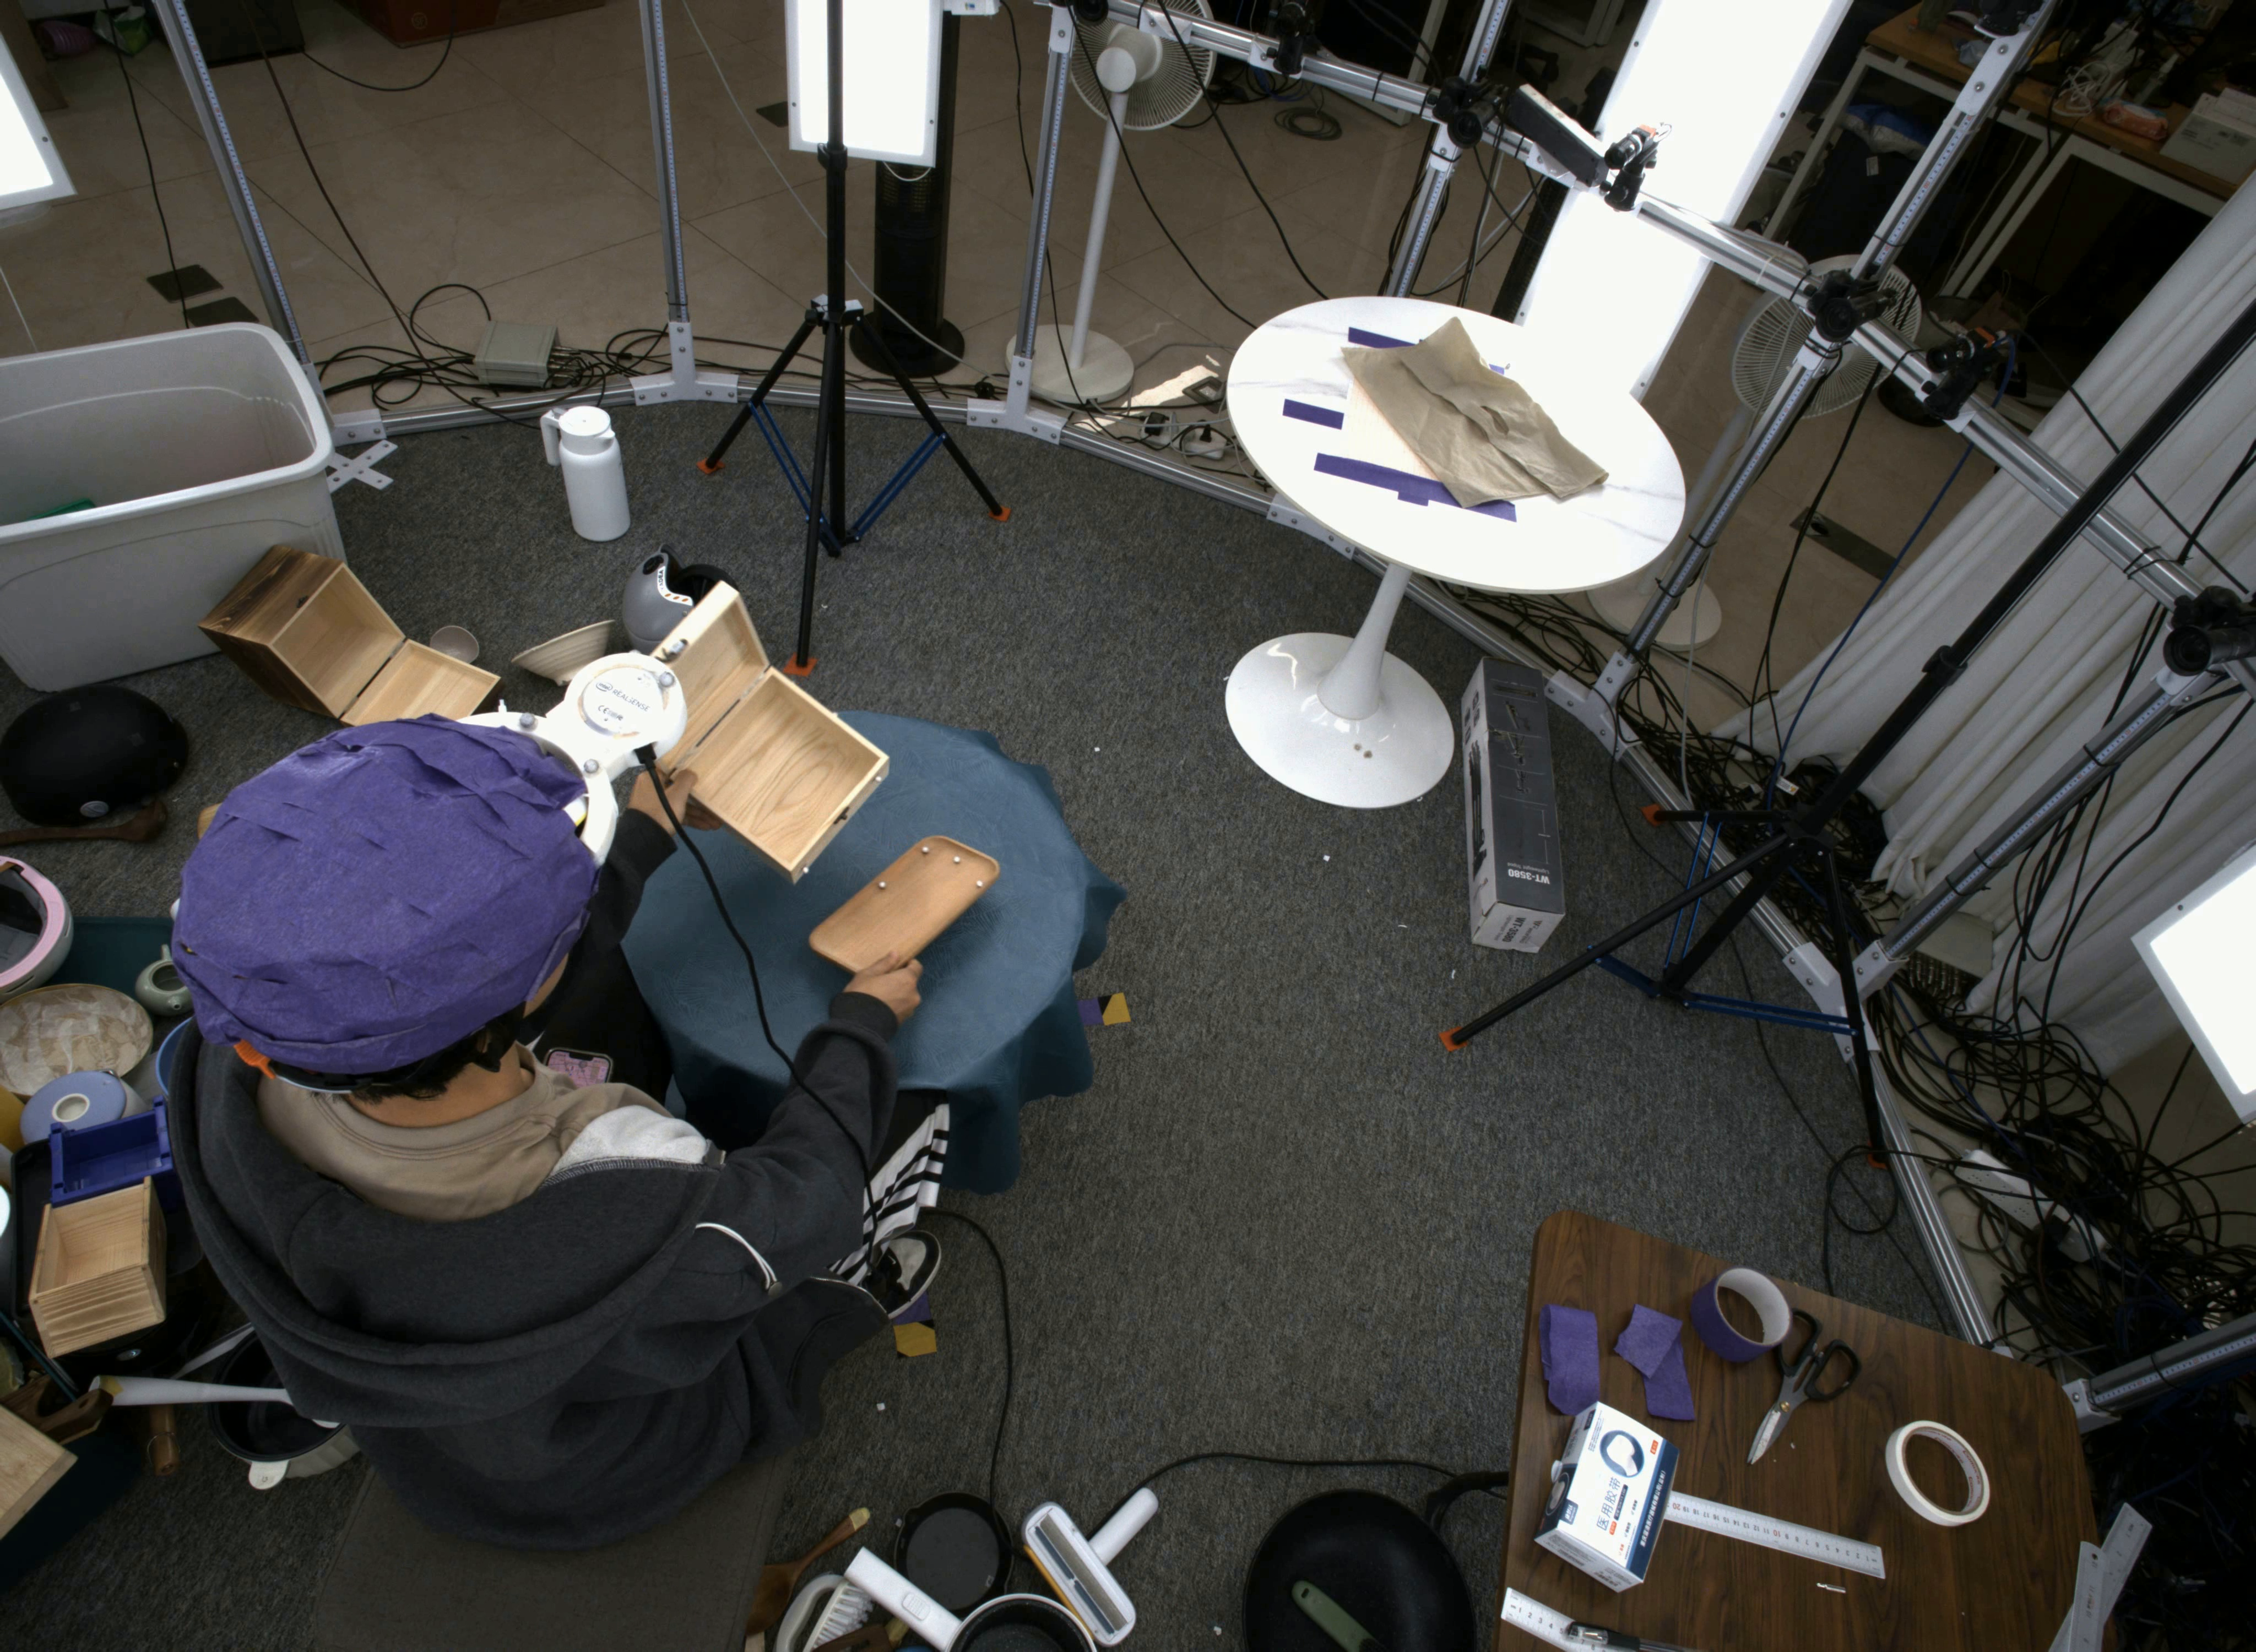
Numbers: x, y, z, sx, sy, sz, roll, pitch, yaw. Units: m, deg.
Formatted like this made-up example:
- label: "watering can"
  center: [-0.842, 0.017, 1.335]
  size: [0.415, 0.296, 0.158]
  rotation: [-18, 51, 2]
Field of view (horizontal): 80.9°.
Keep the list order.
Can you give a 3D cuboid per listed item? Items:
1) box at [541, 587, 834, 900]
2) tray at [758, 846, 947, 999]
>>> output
- label: "box"
  center: [-0.488, -0.082, 1.434]
  size: [0.265, 0.253, 0.182]
  rotation: [34, 75, -3]
- label: "tray"
  center: [-0.334, 0.113, 1.593]
  size: [0.126, 0.023, 0.250]
  rotation: [18, 44, 24]
